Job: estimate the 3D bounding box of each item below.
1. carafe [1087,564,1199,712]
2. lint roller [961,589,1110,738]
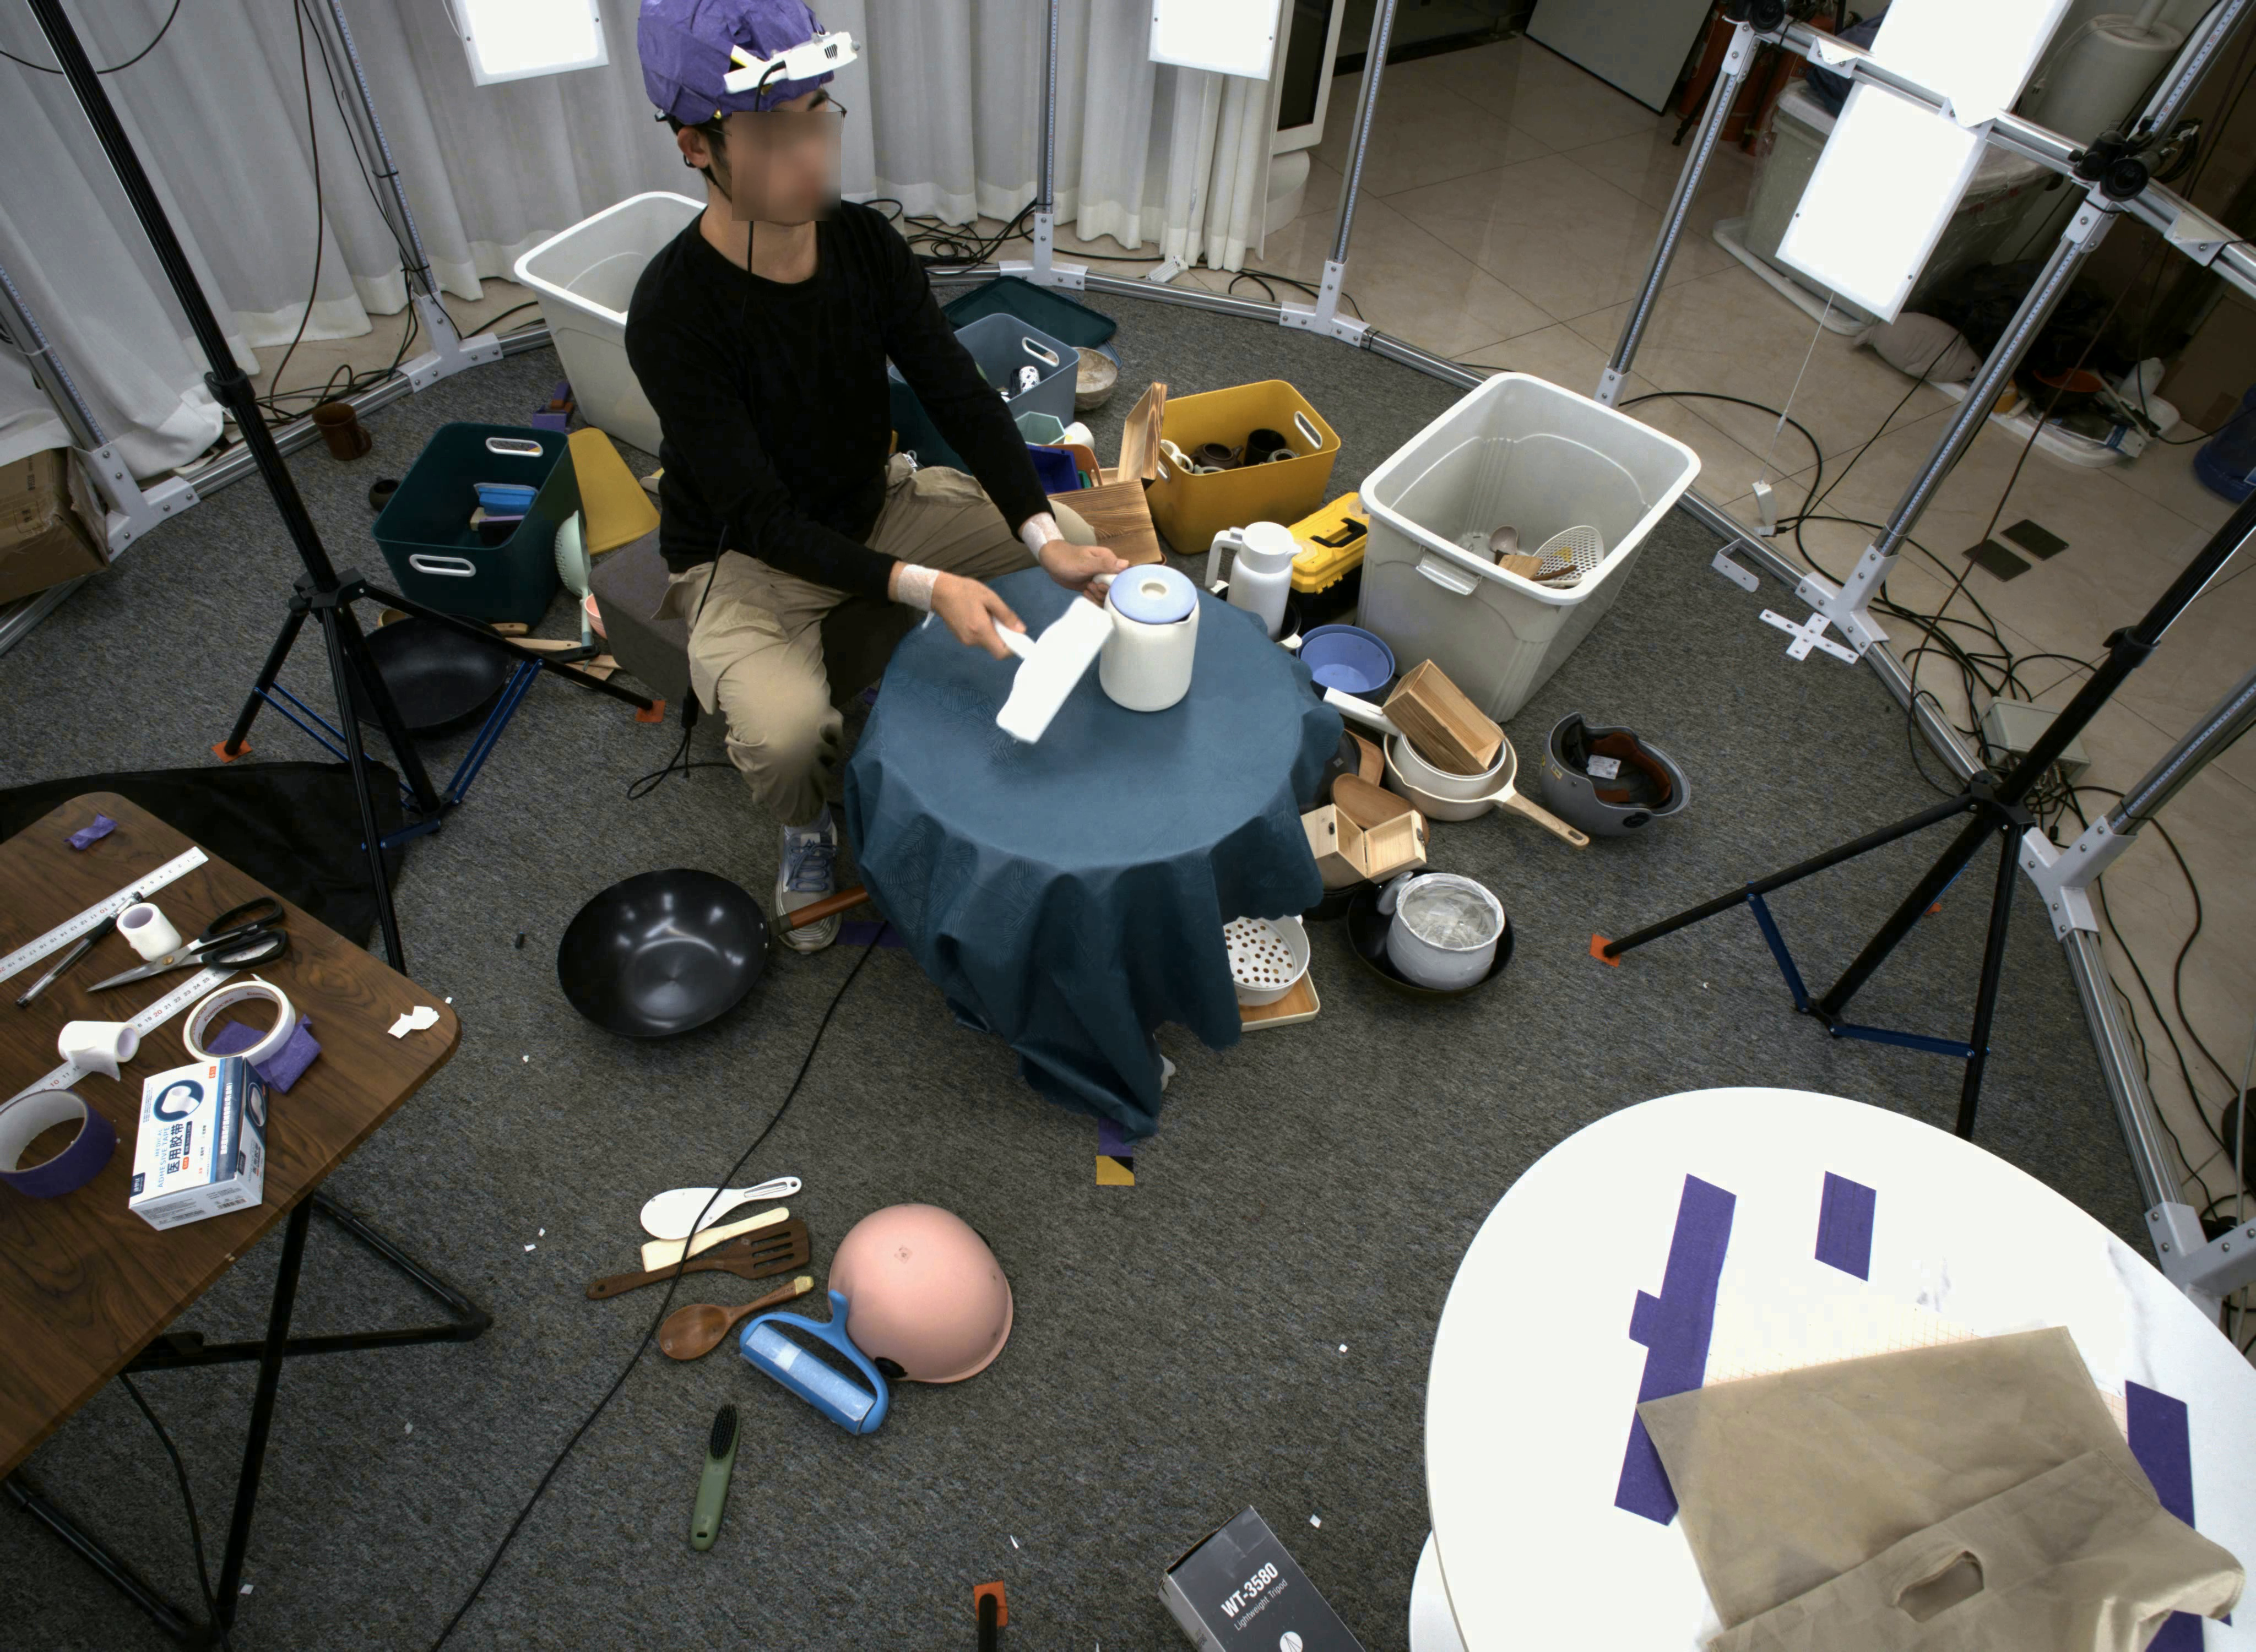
[{"bbox_3d":[0.012,-0.275,1.798,0.133,0.178,0.194,-35,58,-30],"label":"carafe"},{"bbox_3d":[-0.153,-0.257,1.743,0.229,0.201,0.048,37,12,26],"label":"lint roller"}]
